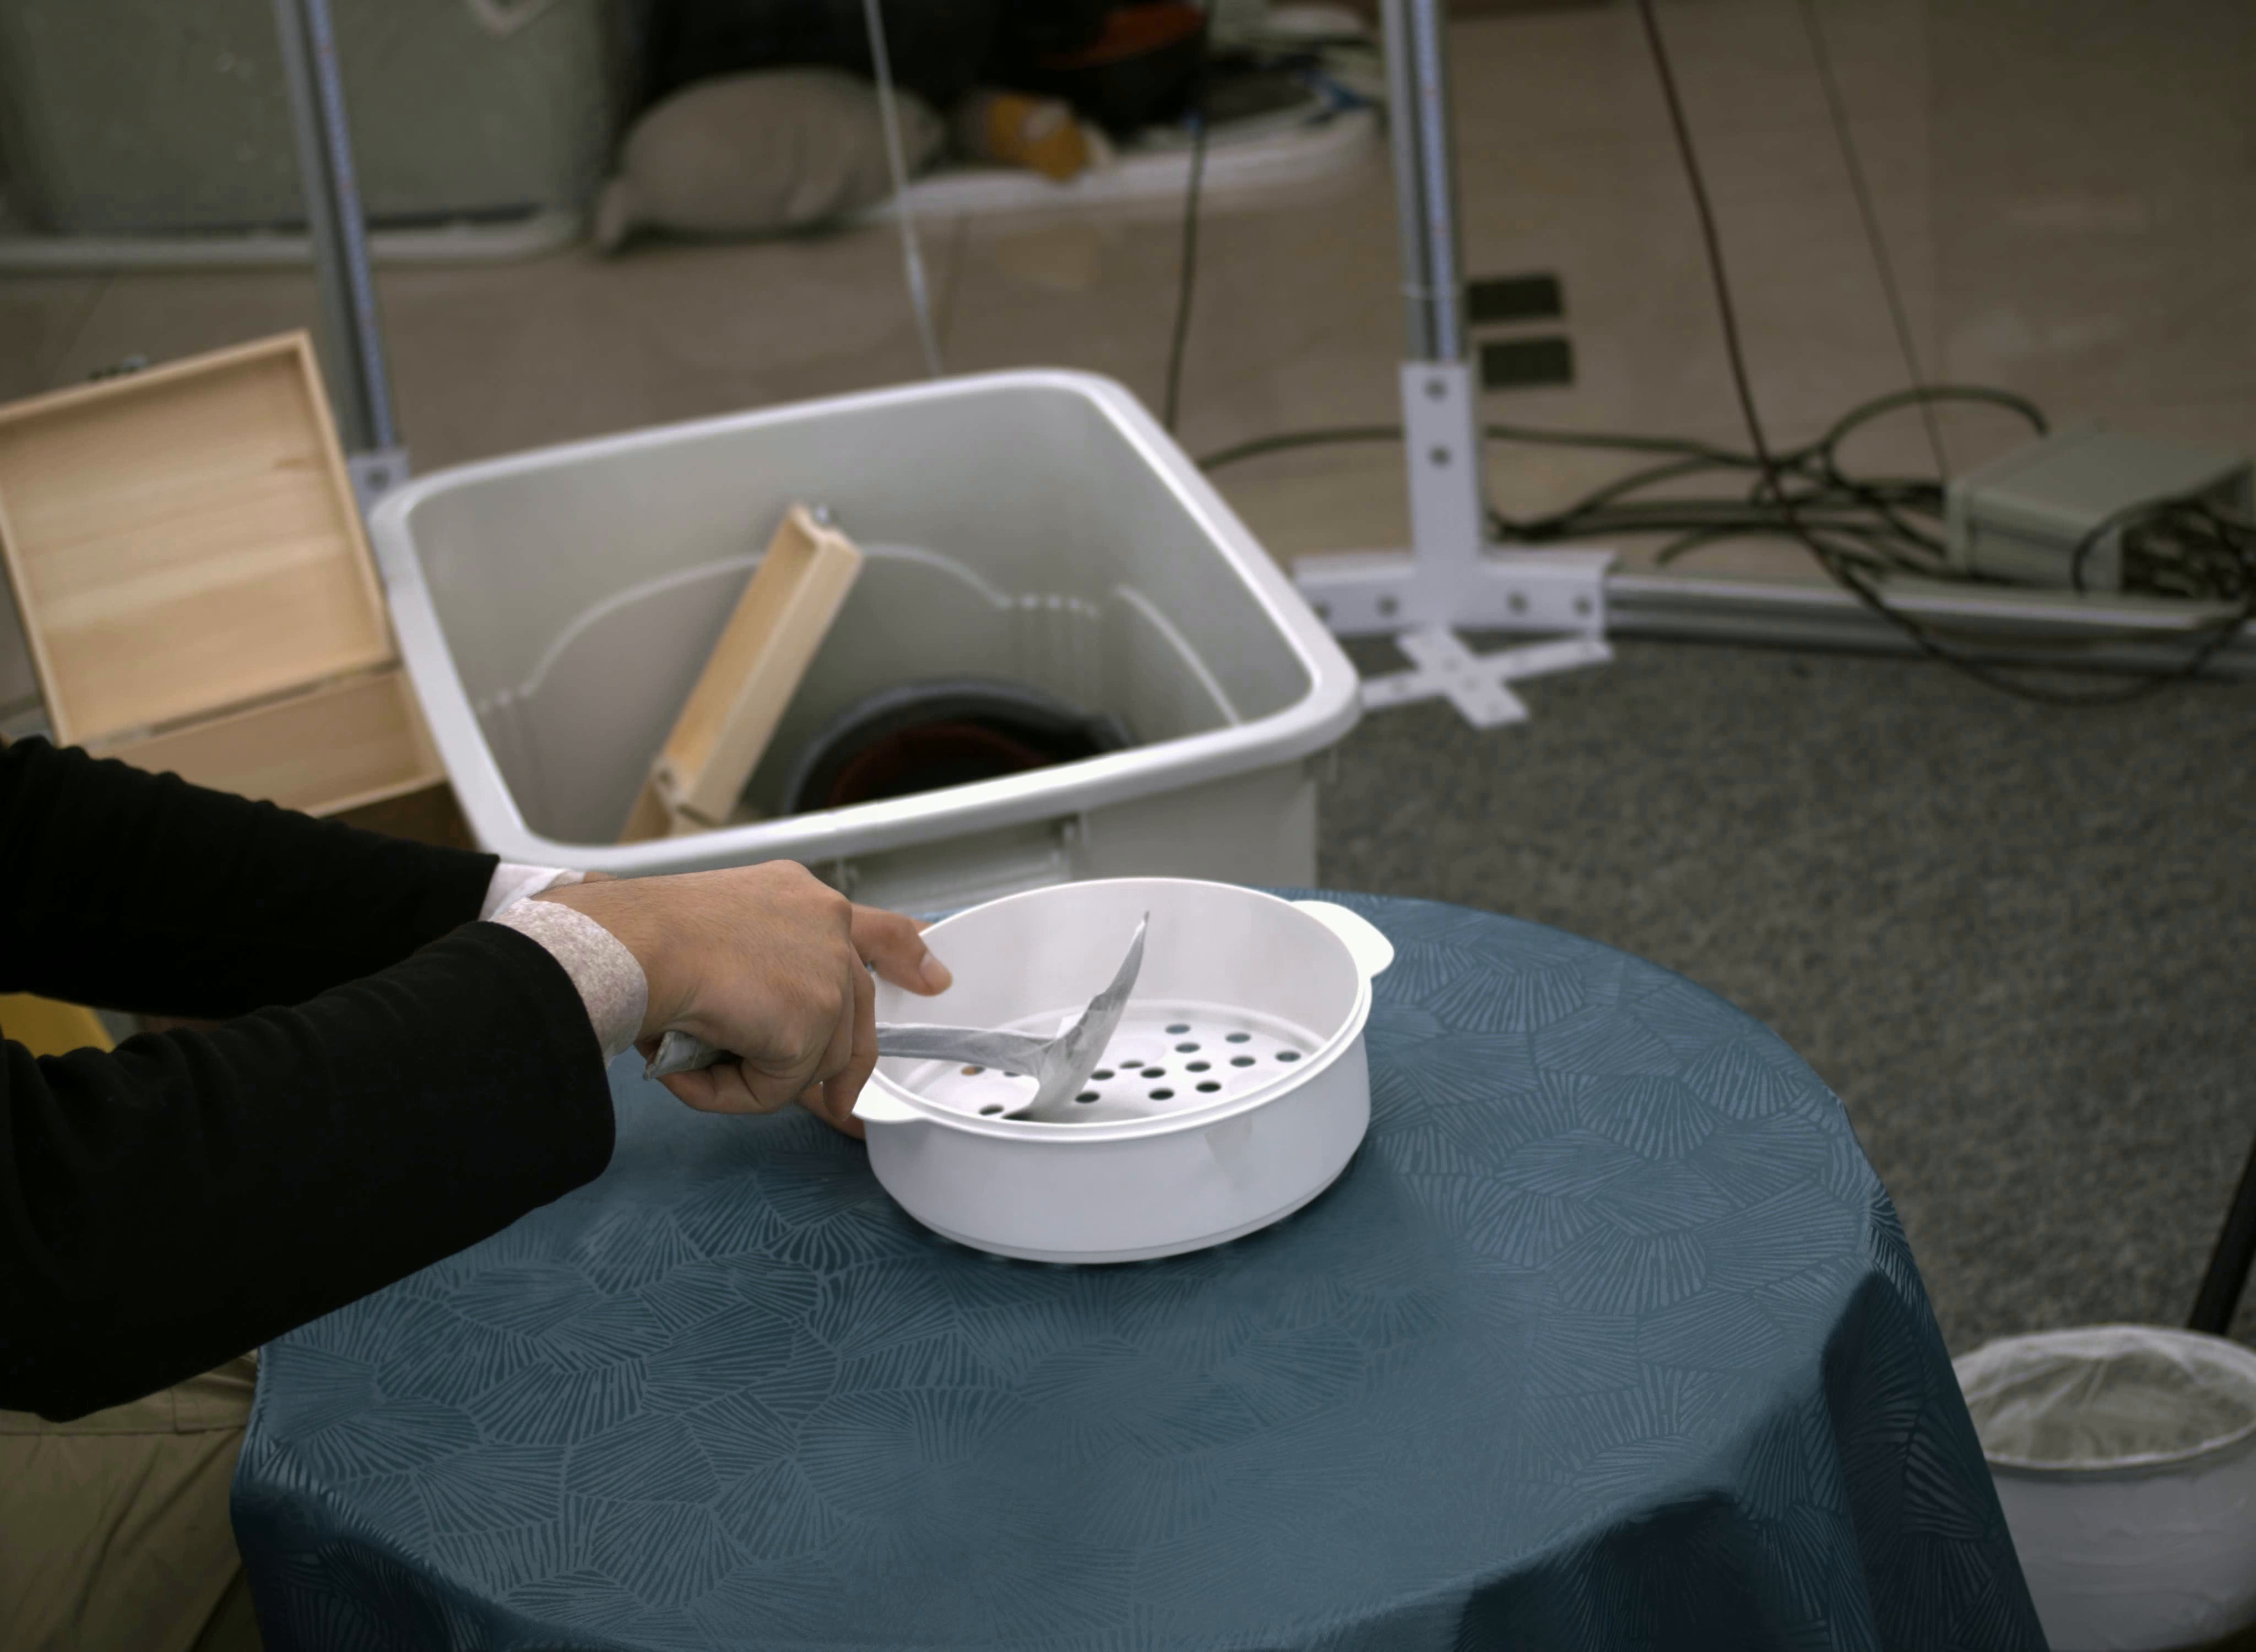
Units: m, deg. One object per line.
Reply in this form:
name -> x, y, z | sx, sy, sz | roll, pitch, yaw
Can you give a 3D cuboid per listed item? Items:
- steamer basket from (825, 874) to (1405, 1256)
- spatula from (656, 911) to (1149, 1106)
steamer basket -> -0.001, 0.092, 2.160 | 0.229, 0.070, 0.199 | -17, 28, -20
spatula -> -0.079, 0.077, 2.020 | 0.044, 0.099, 0.365 | 35, 14, 25
